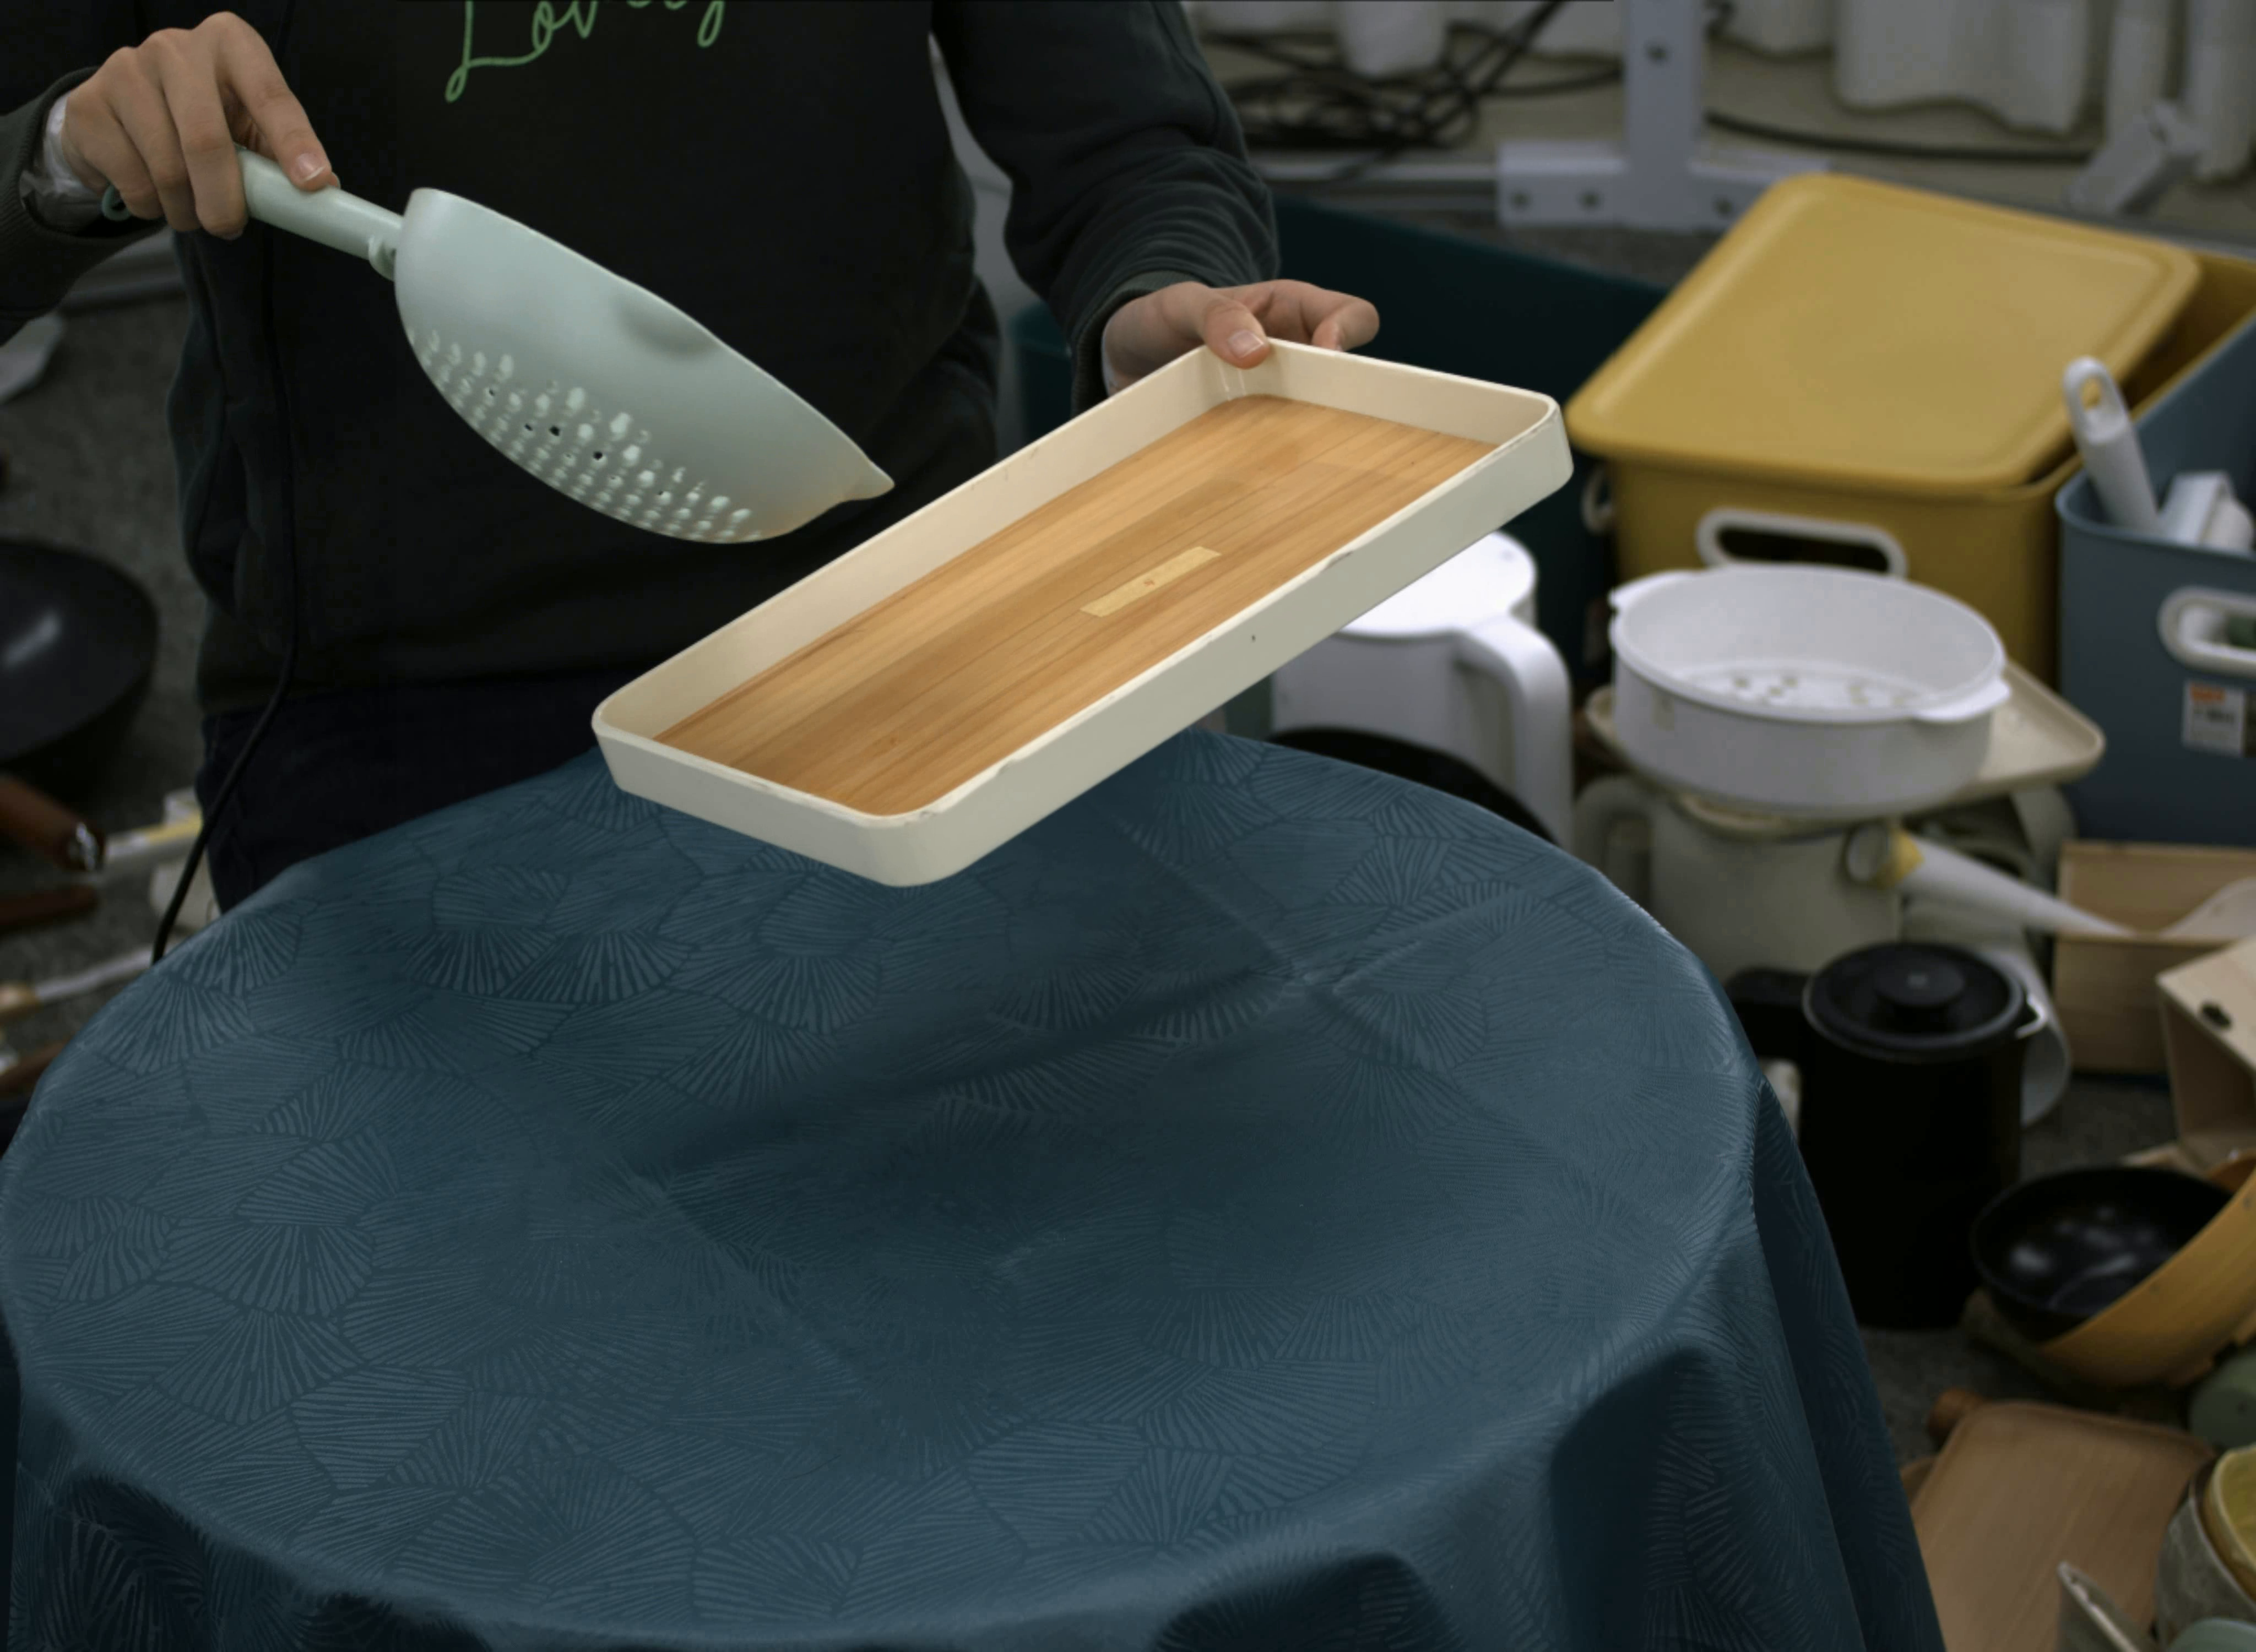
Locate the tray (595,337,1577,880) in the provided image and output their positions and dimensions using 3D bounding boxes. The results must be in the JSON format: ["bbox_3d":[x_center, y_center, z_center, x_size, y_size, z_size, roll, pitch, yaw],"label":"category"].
[{"bbox_3d":[-0.013,-0.078,1.874,0.304,0.027,0.191,-32,29,-29],"label":"tray"}]

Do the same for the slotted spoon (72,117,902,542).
[{"bbox_3d":[-0.229,-0.180,1.856,0.360,0.168,0.075,35,88,38],"label":"slotted spoon"}]
